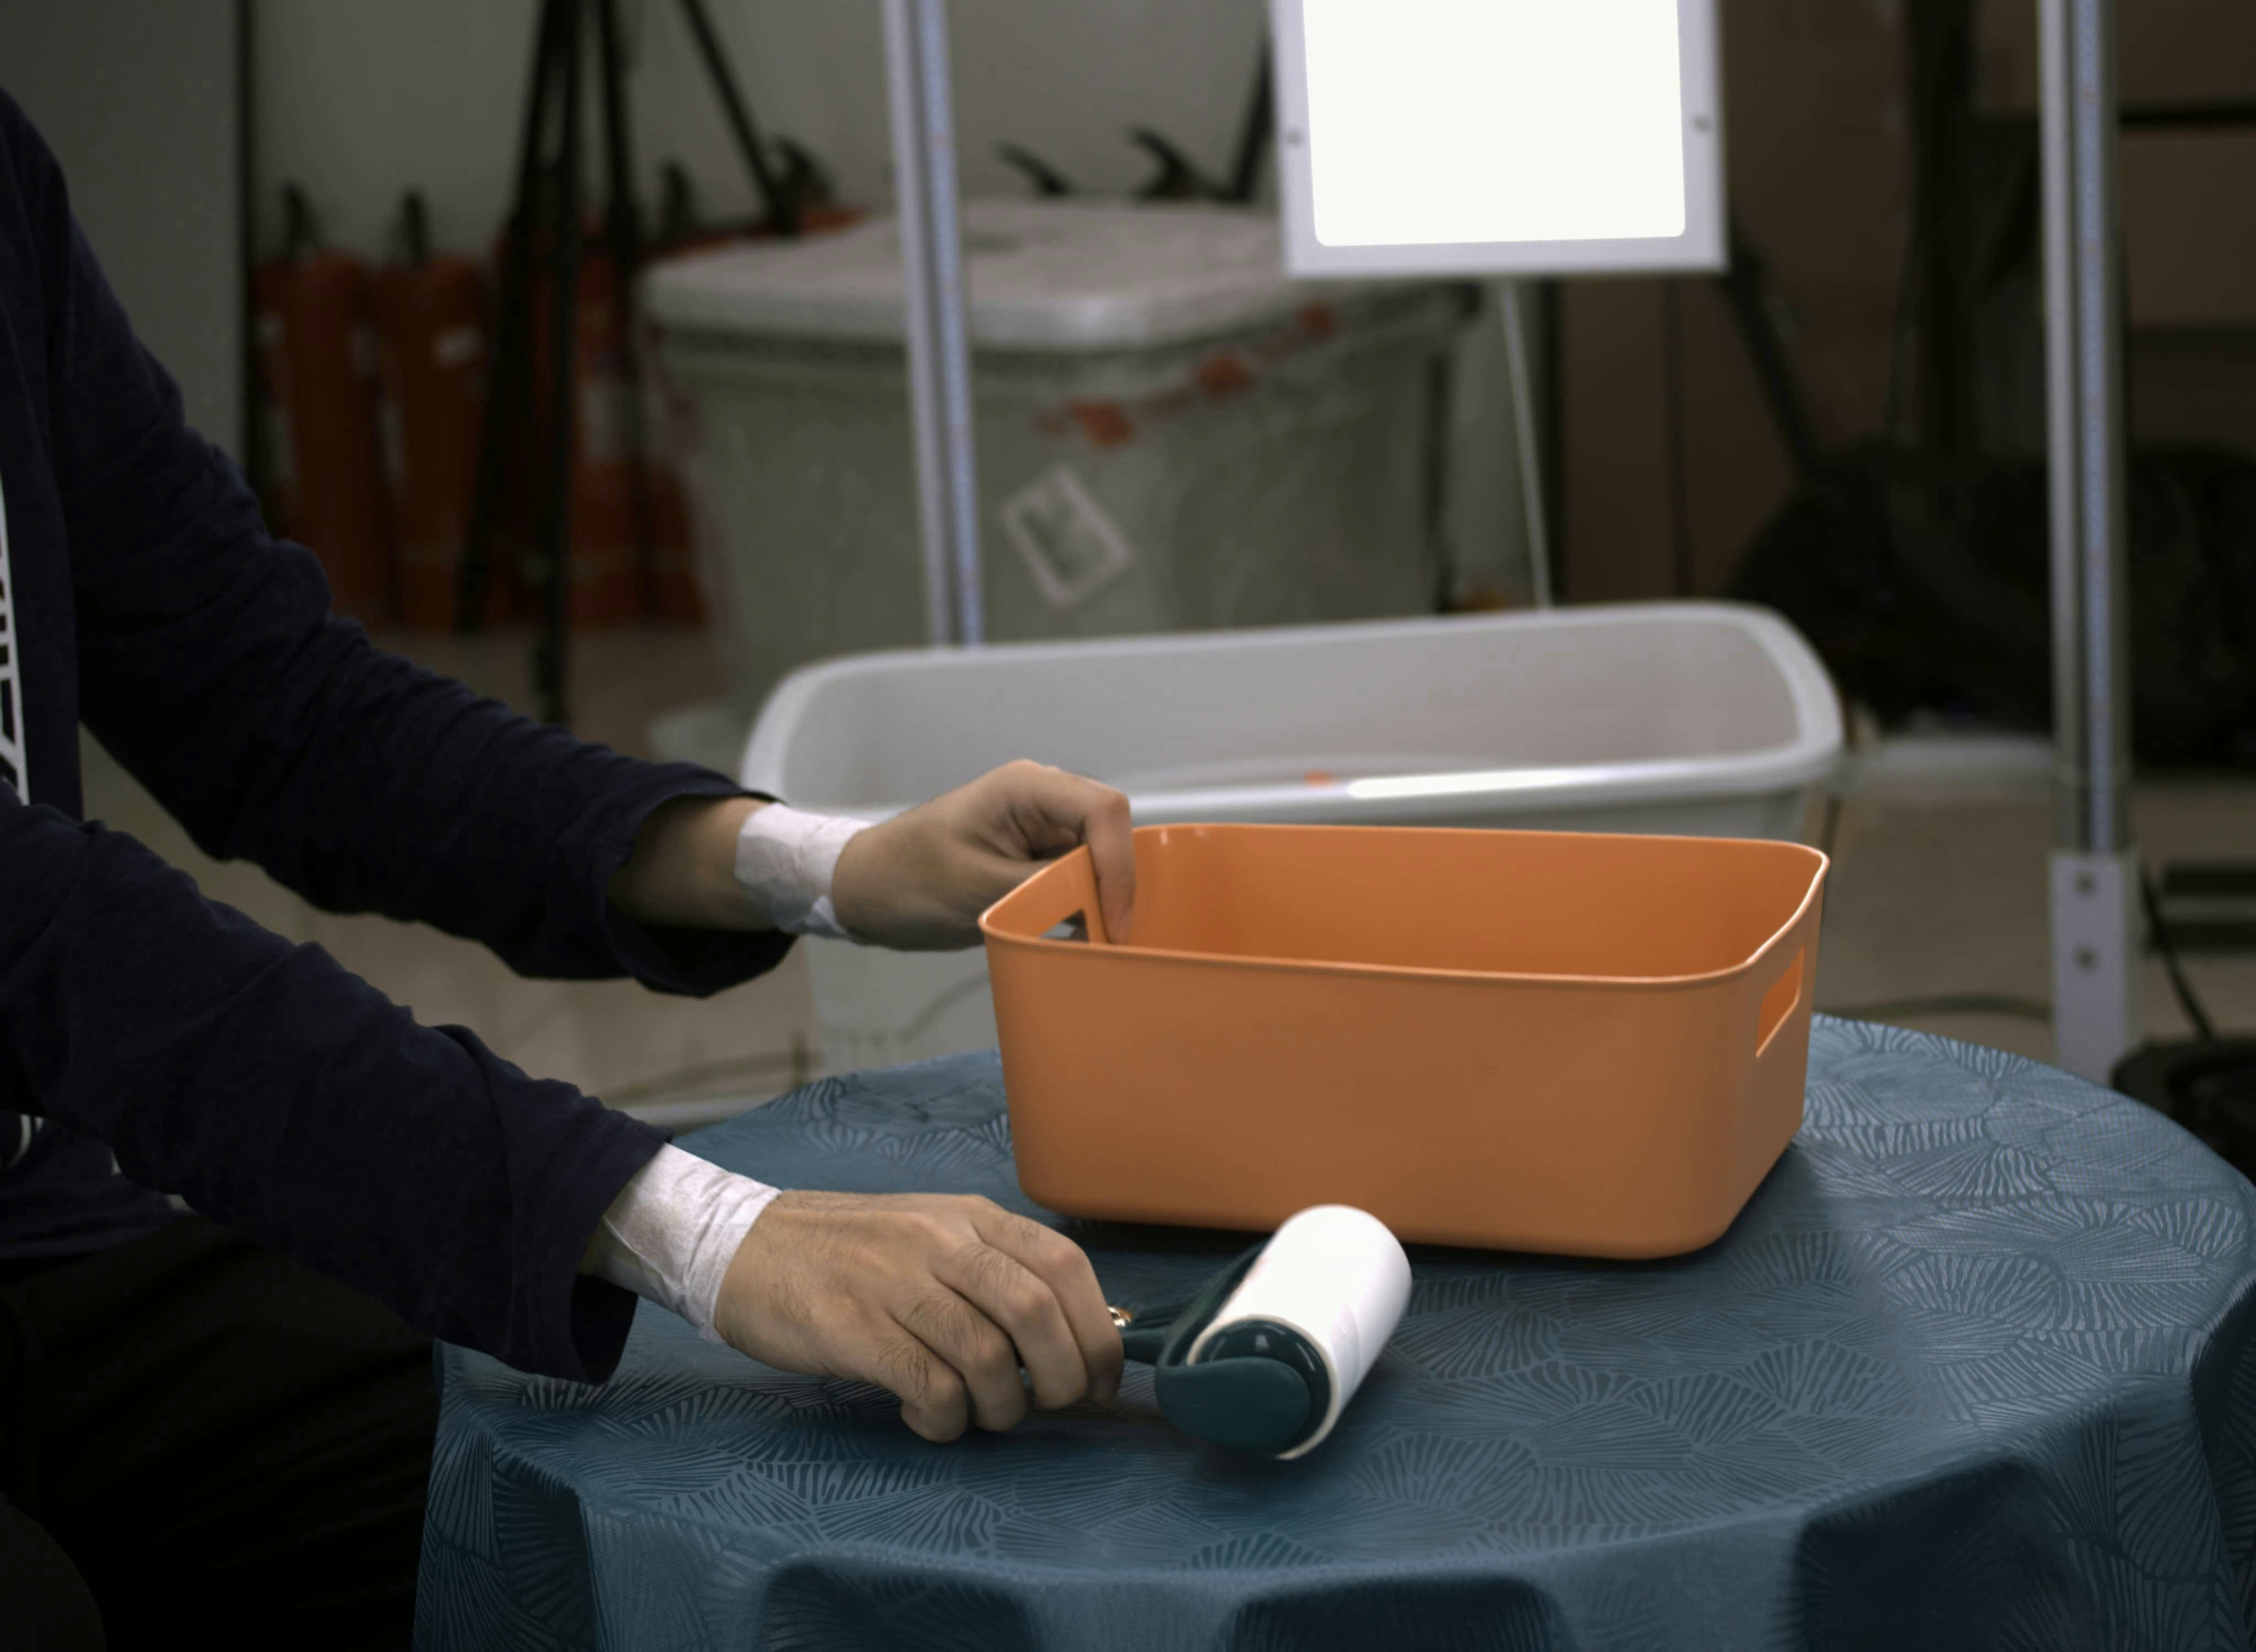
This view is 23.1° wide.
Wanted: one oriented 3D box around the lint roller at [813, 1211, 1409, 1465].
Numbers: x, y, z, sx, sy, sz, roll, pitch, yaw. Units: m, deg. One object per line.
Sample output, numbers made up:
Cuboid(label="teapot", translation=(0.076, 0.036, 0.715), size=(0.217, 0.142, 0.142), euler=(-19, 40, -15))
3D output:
Cuboid(label="lint roller", translation=(-0.011, 0.153, 1.678), size=(0.182, 0.048, 0.132), euler=(0, 15, 17))

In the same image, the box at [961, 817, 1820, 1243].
Cuboid(label="box", translation=(0.093, 0.068, 1.865), size=(0.277, 0.103, 0.196), euler=(1, 13, 21))
